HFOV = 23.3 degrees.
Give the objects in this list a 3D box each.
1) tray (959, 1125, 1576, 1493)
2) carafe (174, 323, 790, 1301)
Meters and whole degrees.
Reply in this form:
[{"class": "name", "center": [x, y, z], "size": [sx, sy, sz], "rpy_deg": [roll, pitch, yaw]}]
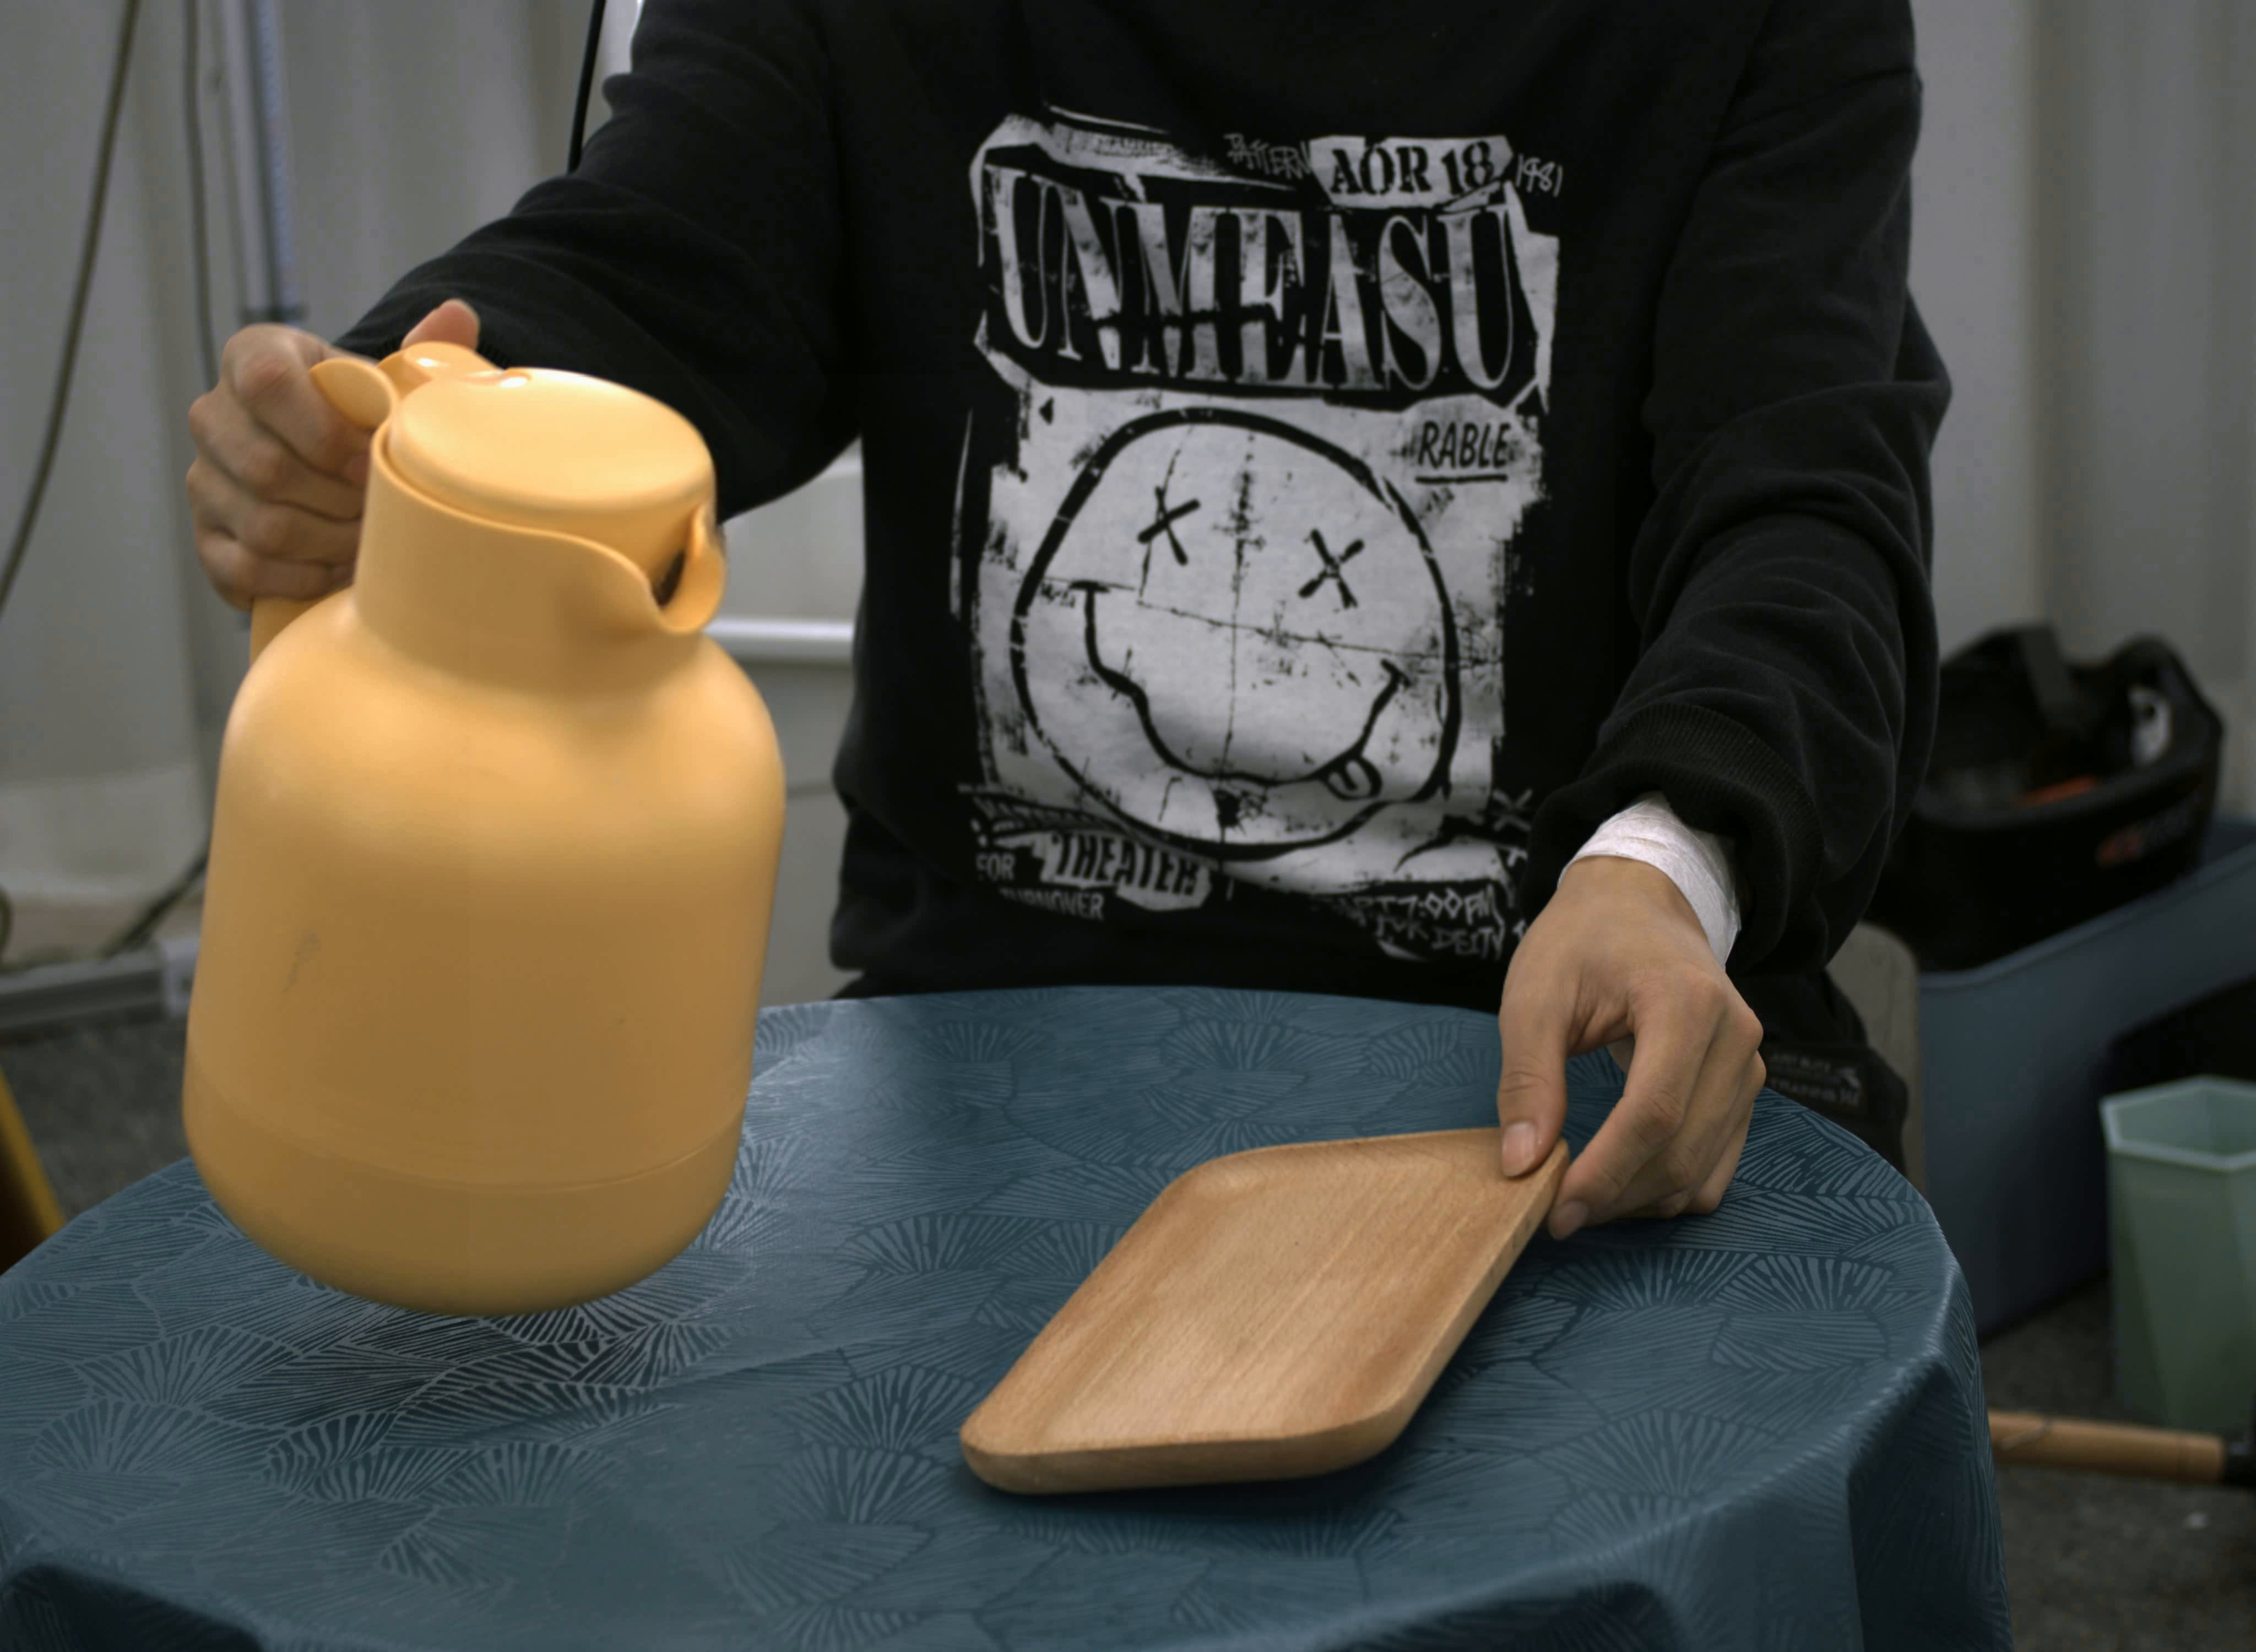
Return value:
[{"class": "tray", "center": [0.044, 0.136, 1.560], "size": [0.130, 0.023, 0.251], "rpy_deg": [-3, 14, 20]}, {"class": "carafe", "center": [-0.188, -0.014, 1.574], "size": [0.162, 0.258, 0.205], "rpy_deg": [-7, 33, -36]}]
